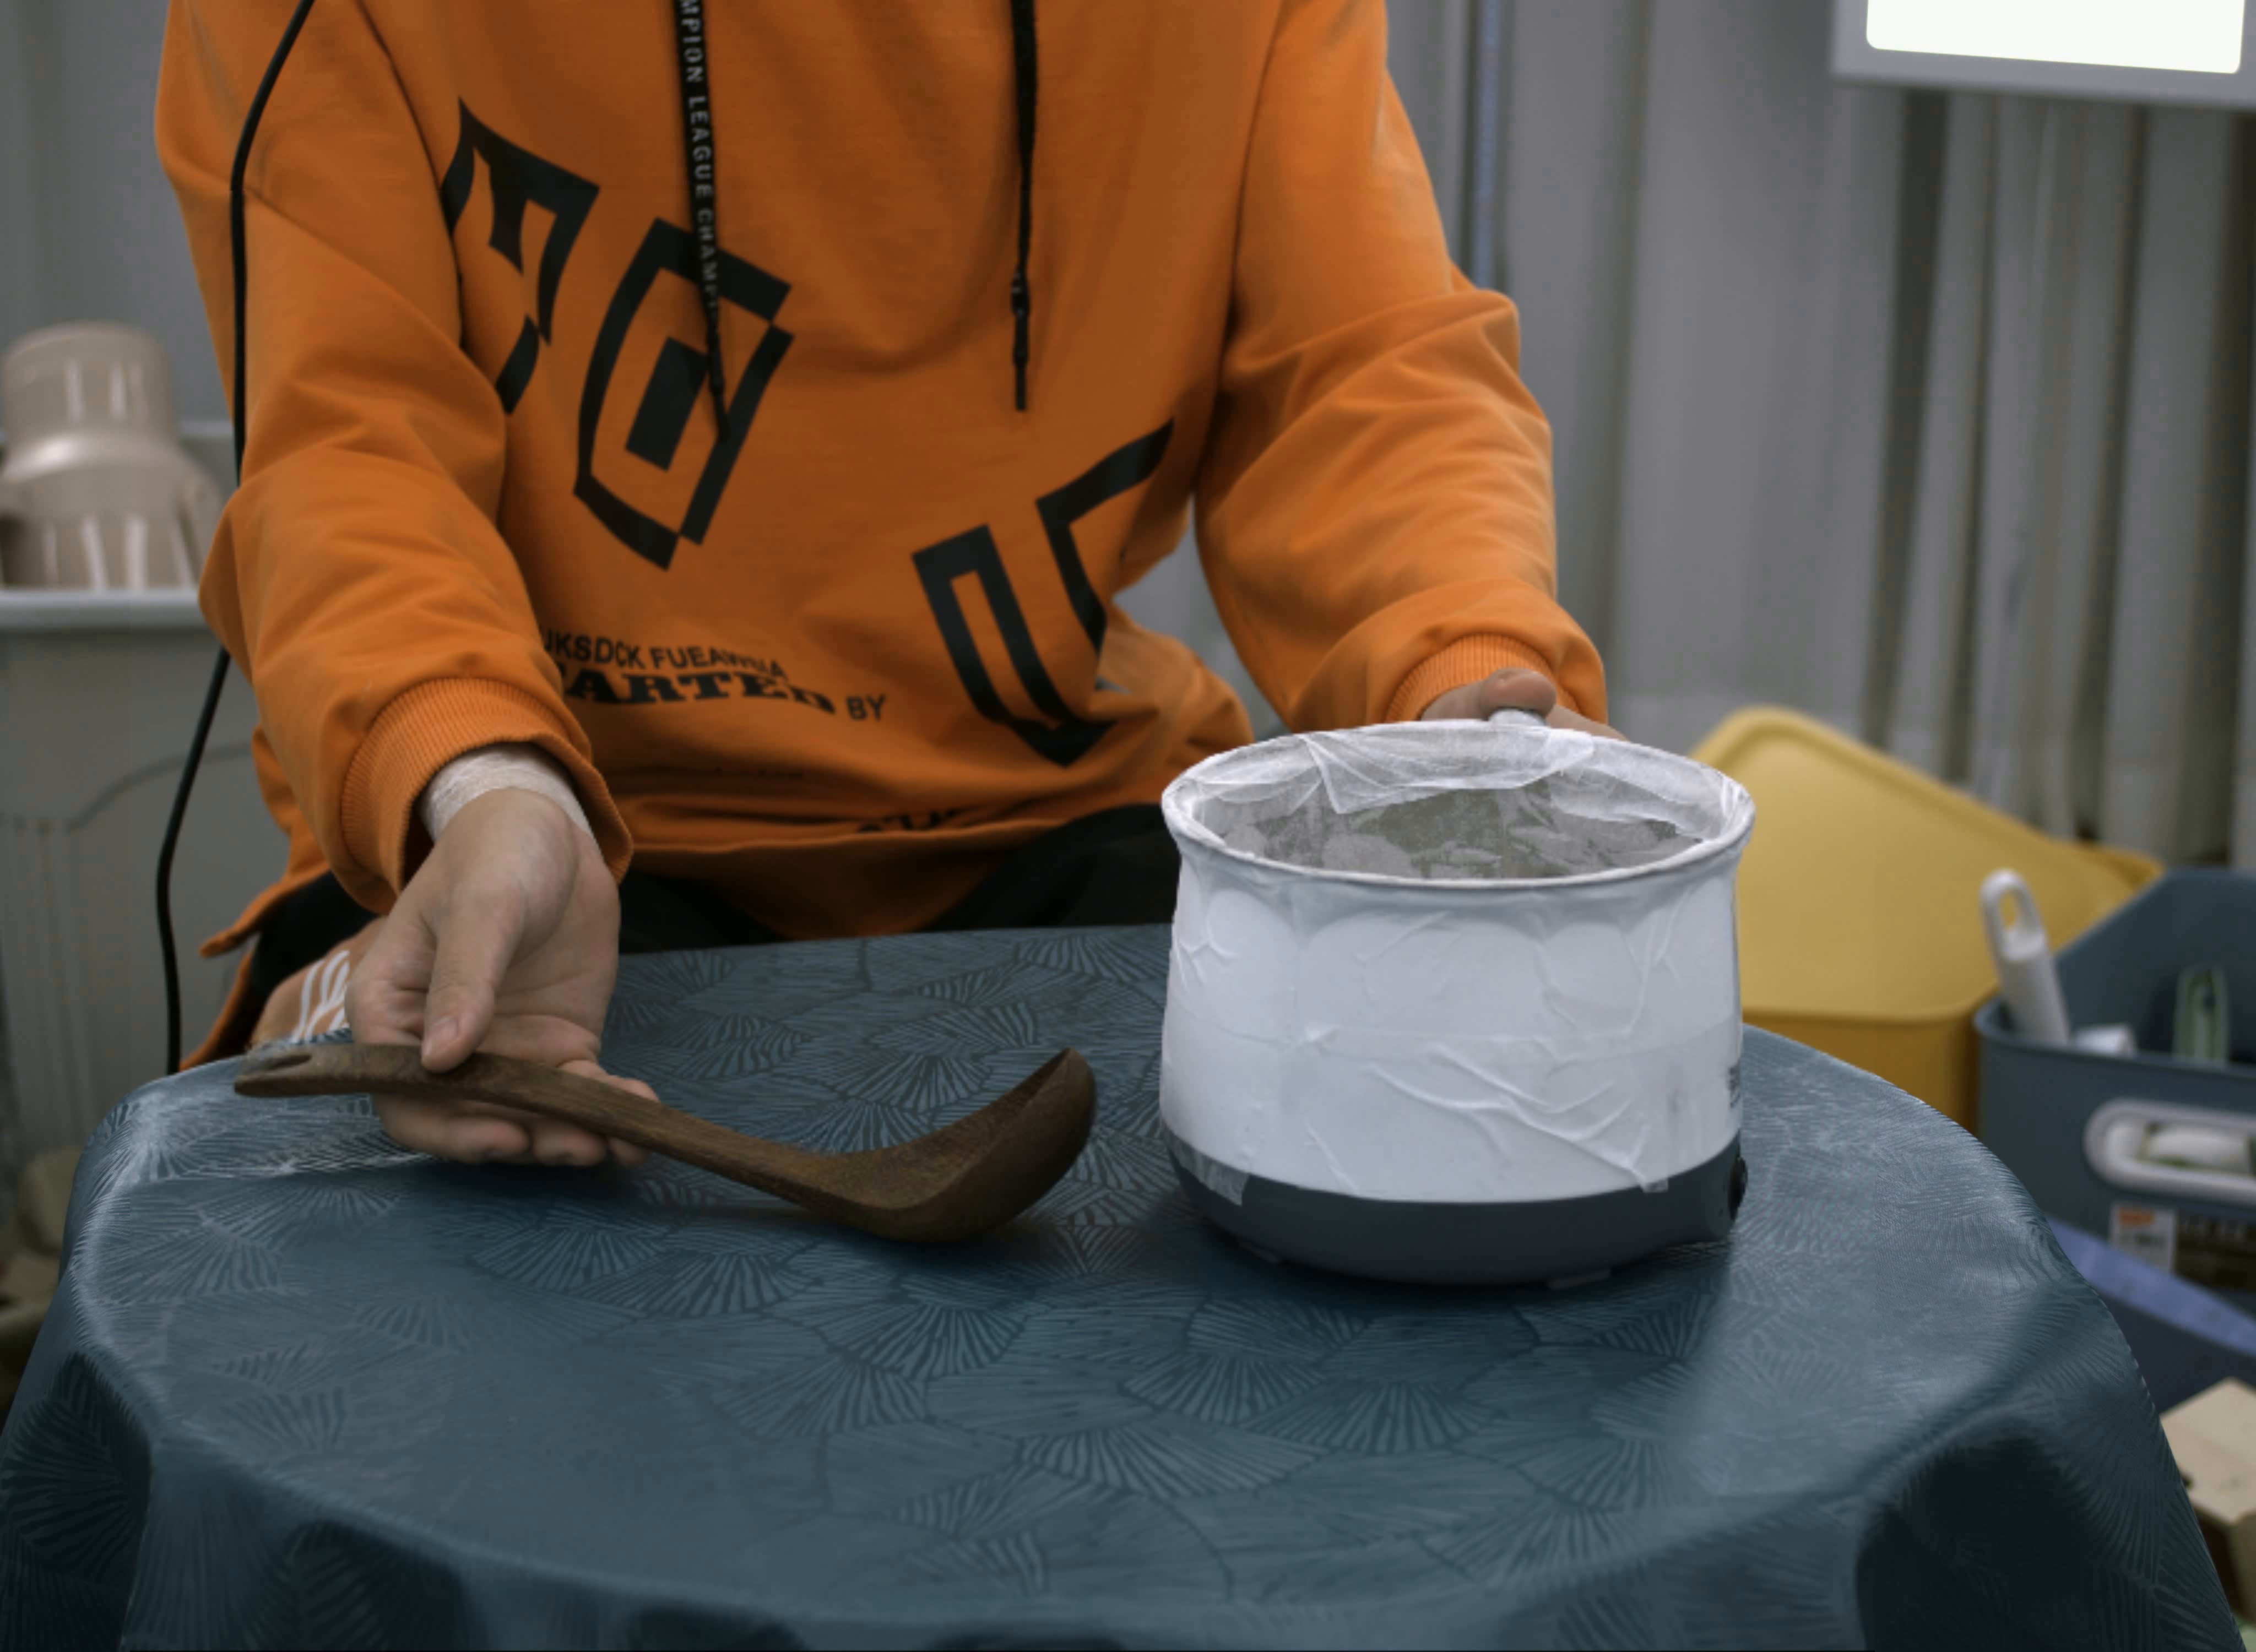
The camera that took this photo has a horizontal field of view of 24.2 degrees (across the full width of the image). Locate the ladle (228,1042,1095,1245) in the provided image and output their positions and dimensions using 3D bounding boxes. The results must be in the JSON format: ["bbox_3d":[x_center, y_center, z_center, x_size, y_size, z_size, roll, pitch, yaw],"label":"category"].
[{"bbox_3d":[-0.143,0.074,1.593,0.272,0.072,0.076,12,21,13],"label":"ladle"}]

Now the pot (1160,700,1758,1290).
[{"bbox_3d":[0.104,0.045,1.608,0.177,0.138,0.233,4,17,11],"label":"pot"}]
